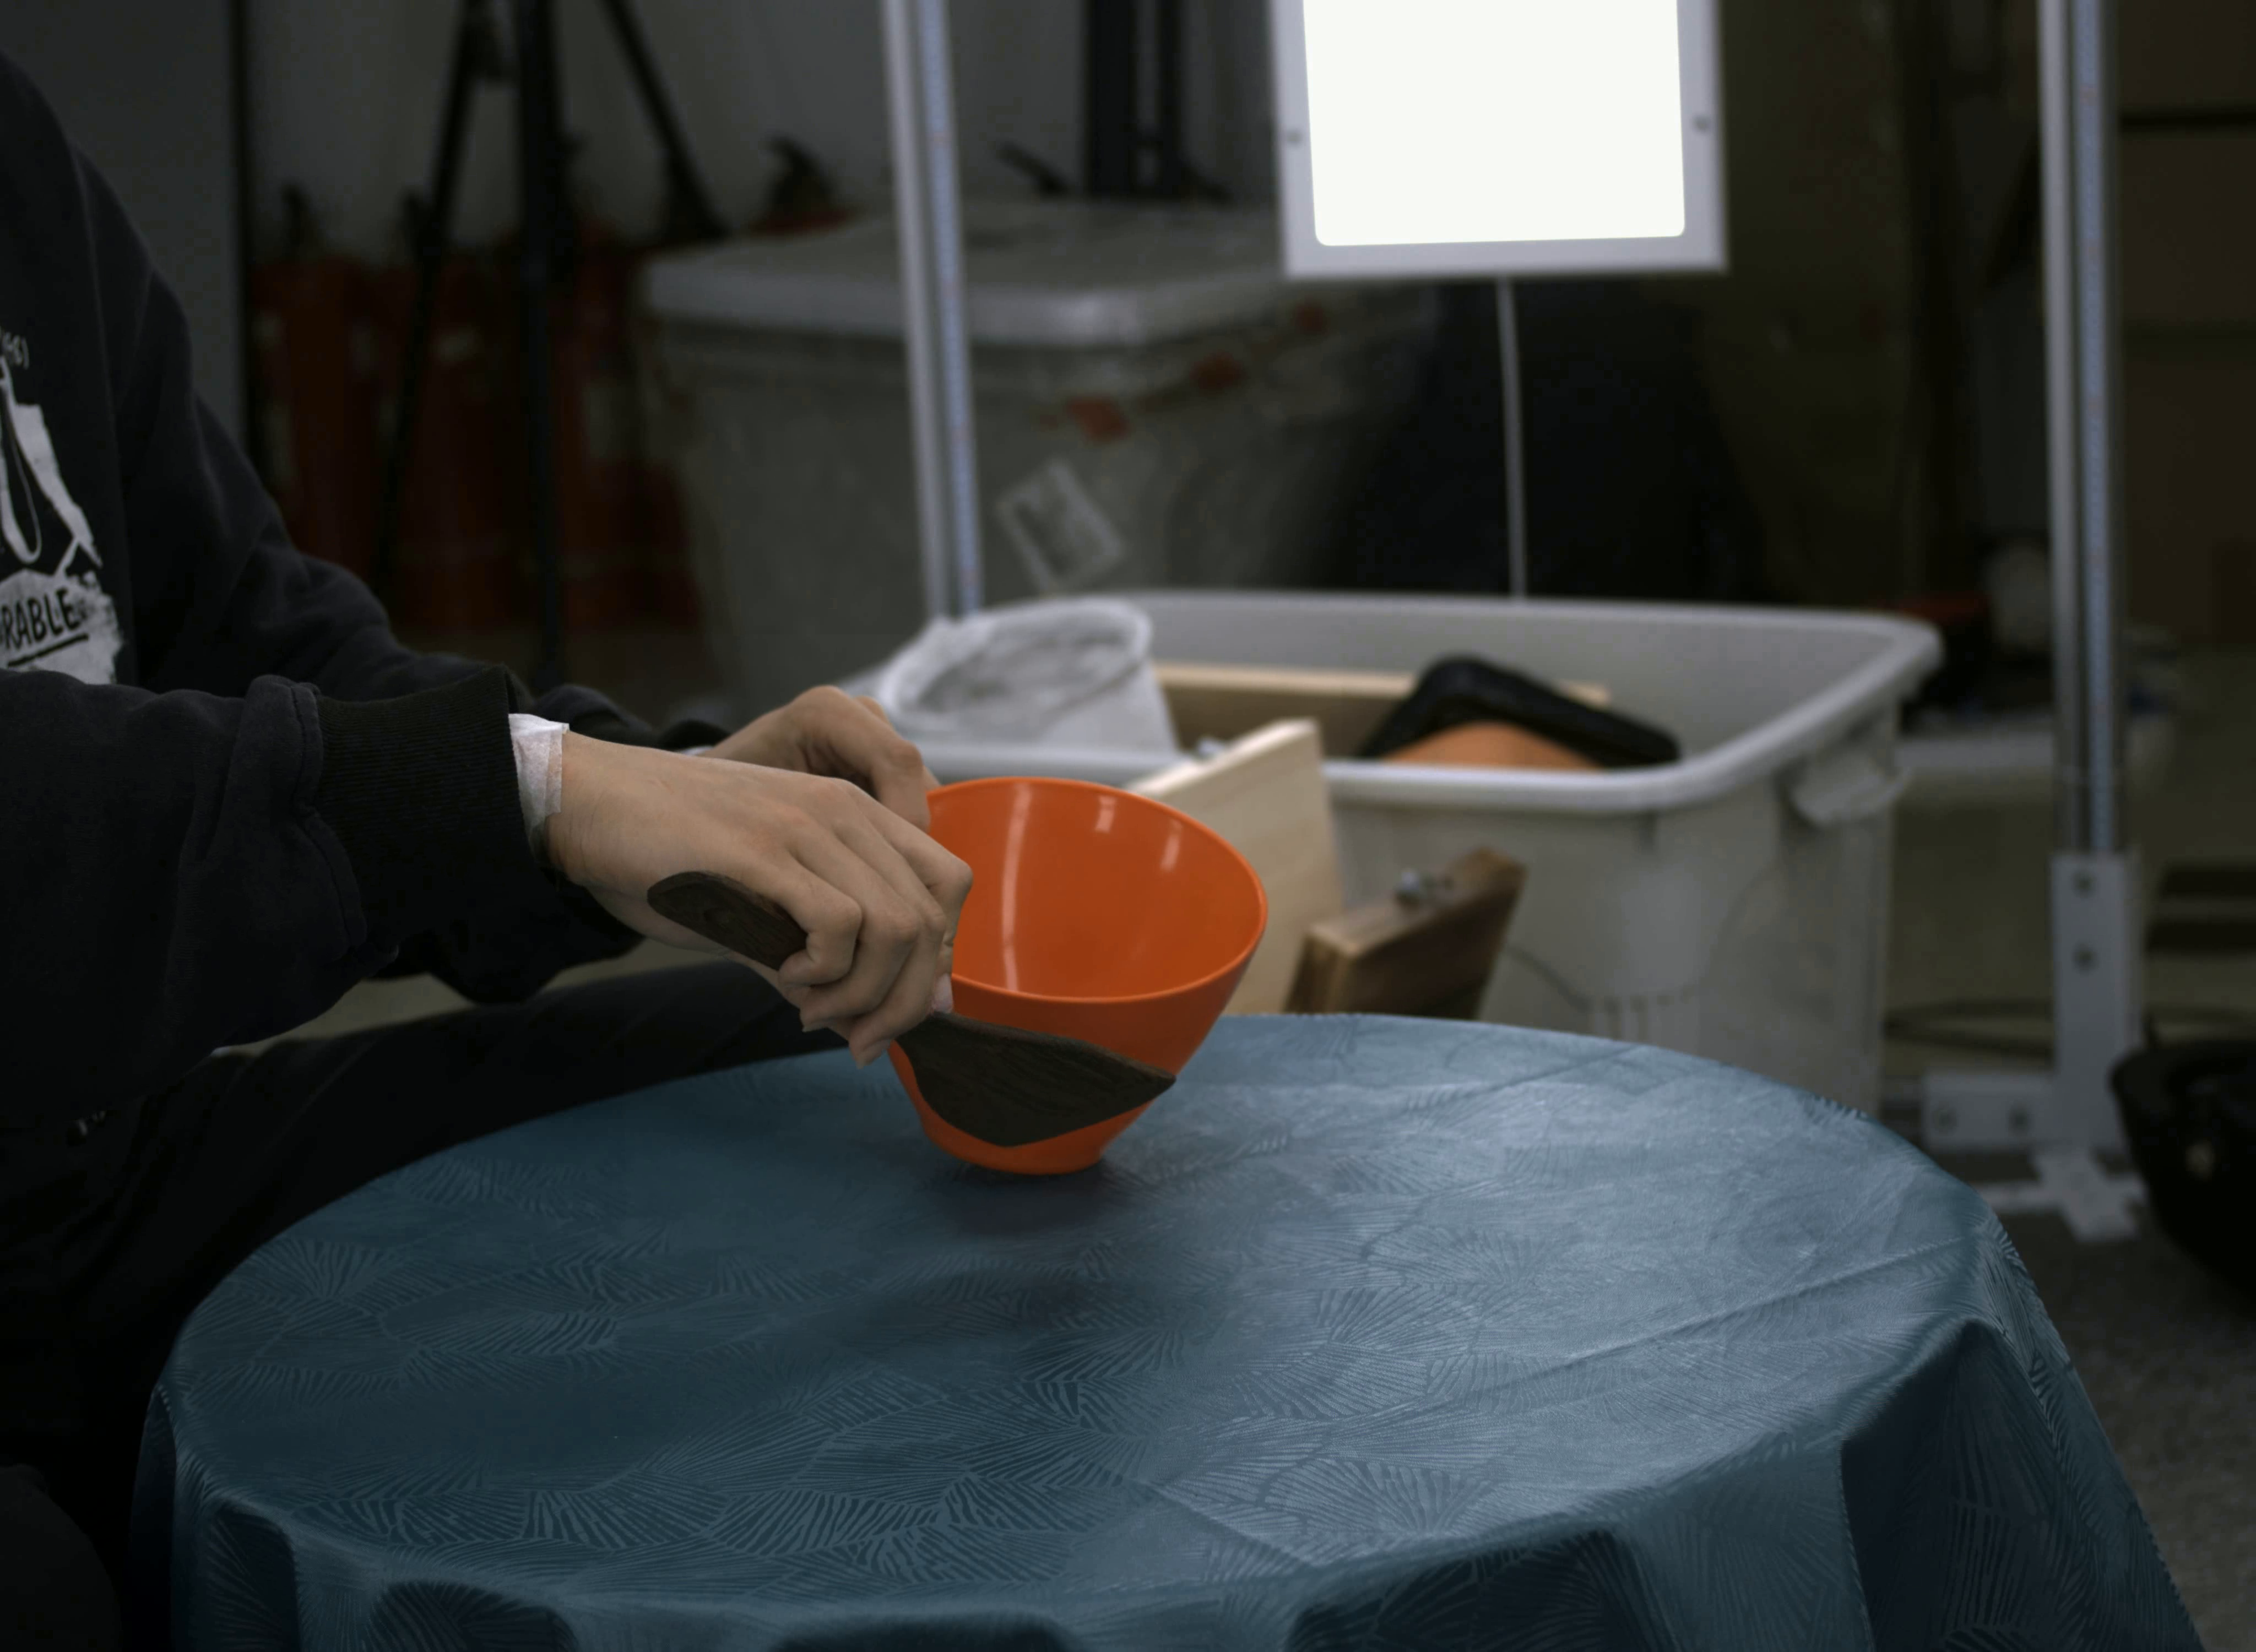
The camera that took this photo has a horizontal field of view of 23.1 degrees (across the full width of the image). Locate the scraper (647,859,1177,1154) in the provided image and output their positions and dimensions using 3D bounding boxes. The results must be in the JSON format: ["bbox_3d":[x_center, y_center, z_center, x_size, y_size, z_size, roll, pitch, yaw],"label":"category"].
[{"bbox_3d":[-0.073,0.057,1.744,0.077,0.011,0.207,-25,-40,32],"label":"scraper"}]

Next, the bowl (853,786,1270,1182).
[{"bbox_3d":[-0.029,0.060,1.933,0.147,0.105,0.148,7,21,-4],"label":"bowl"}]
